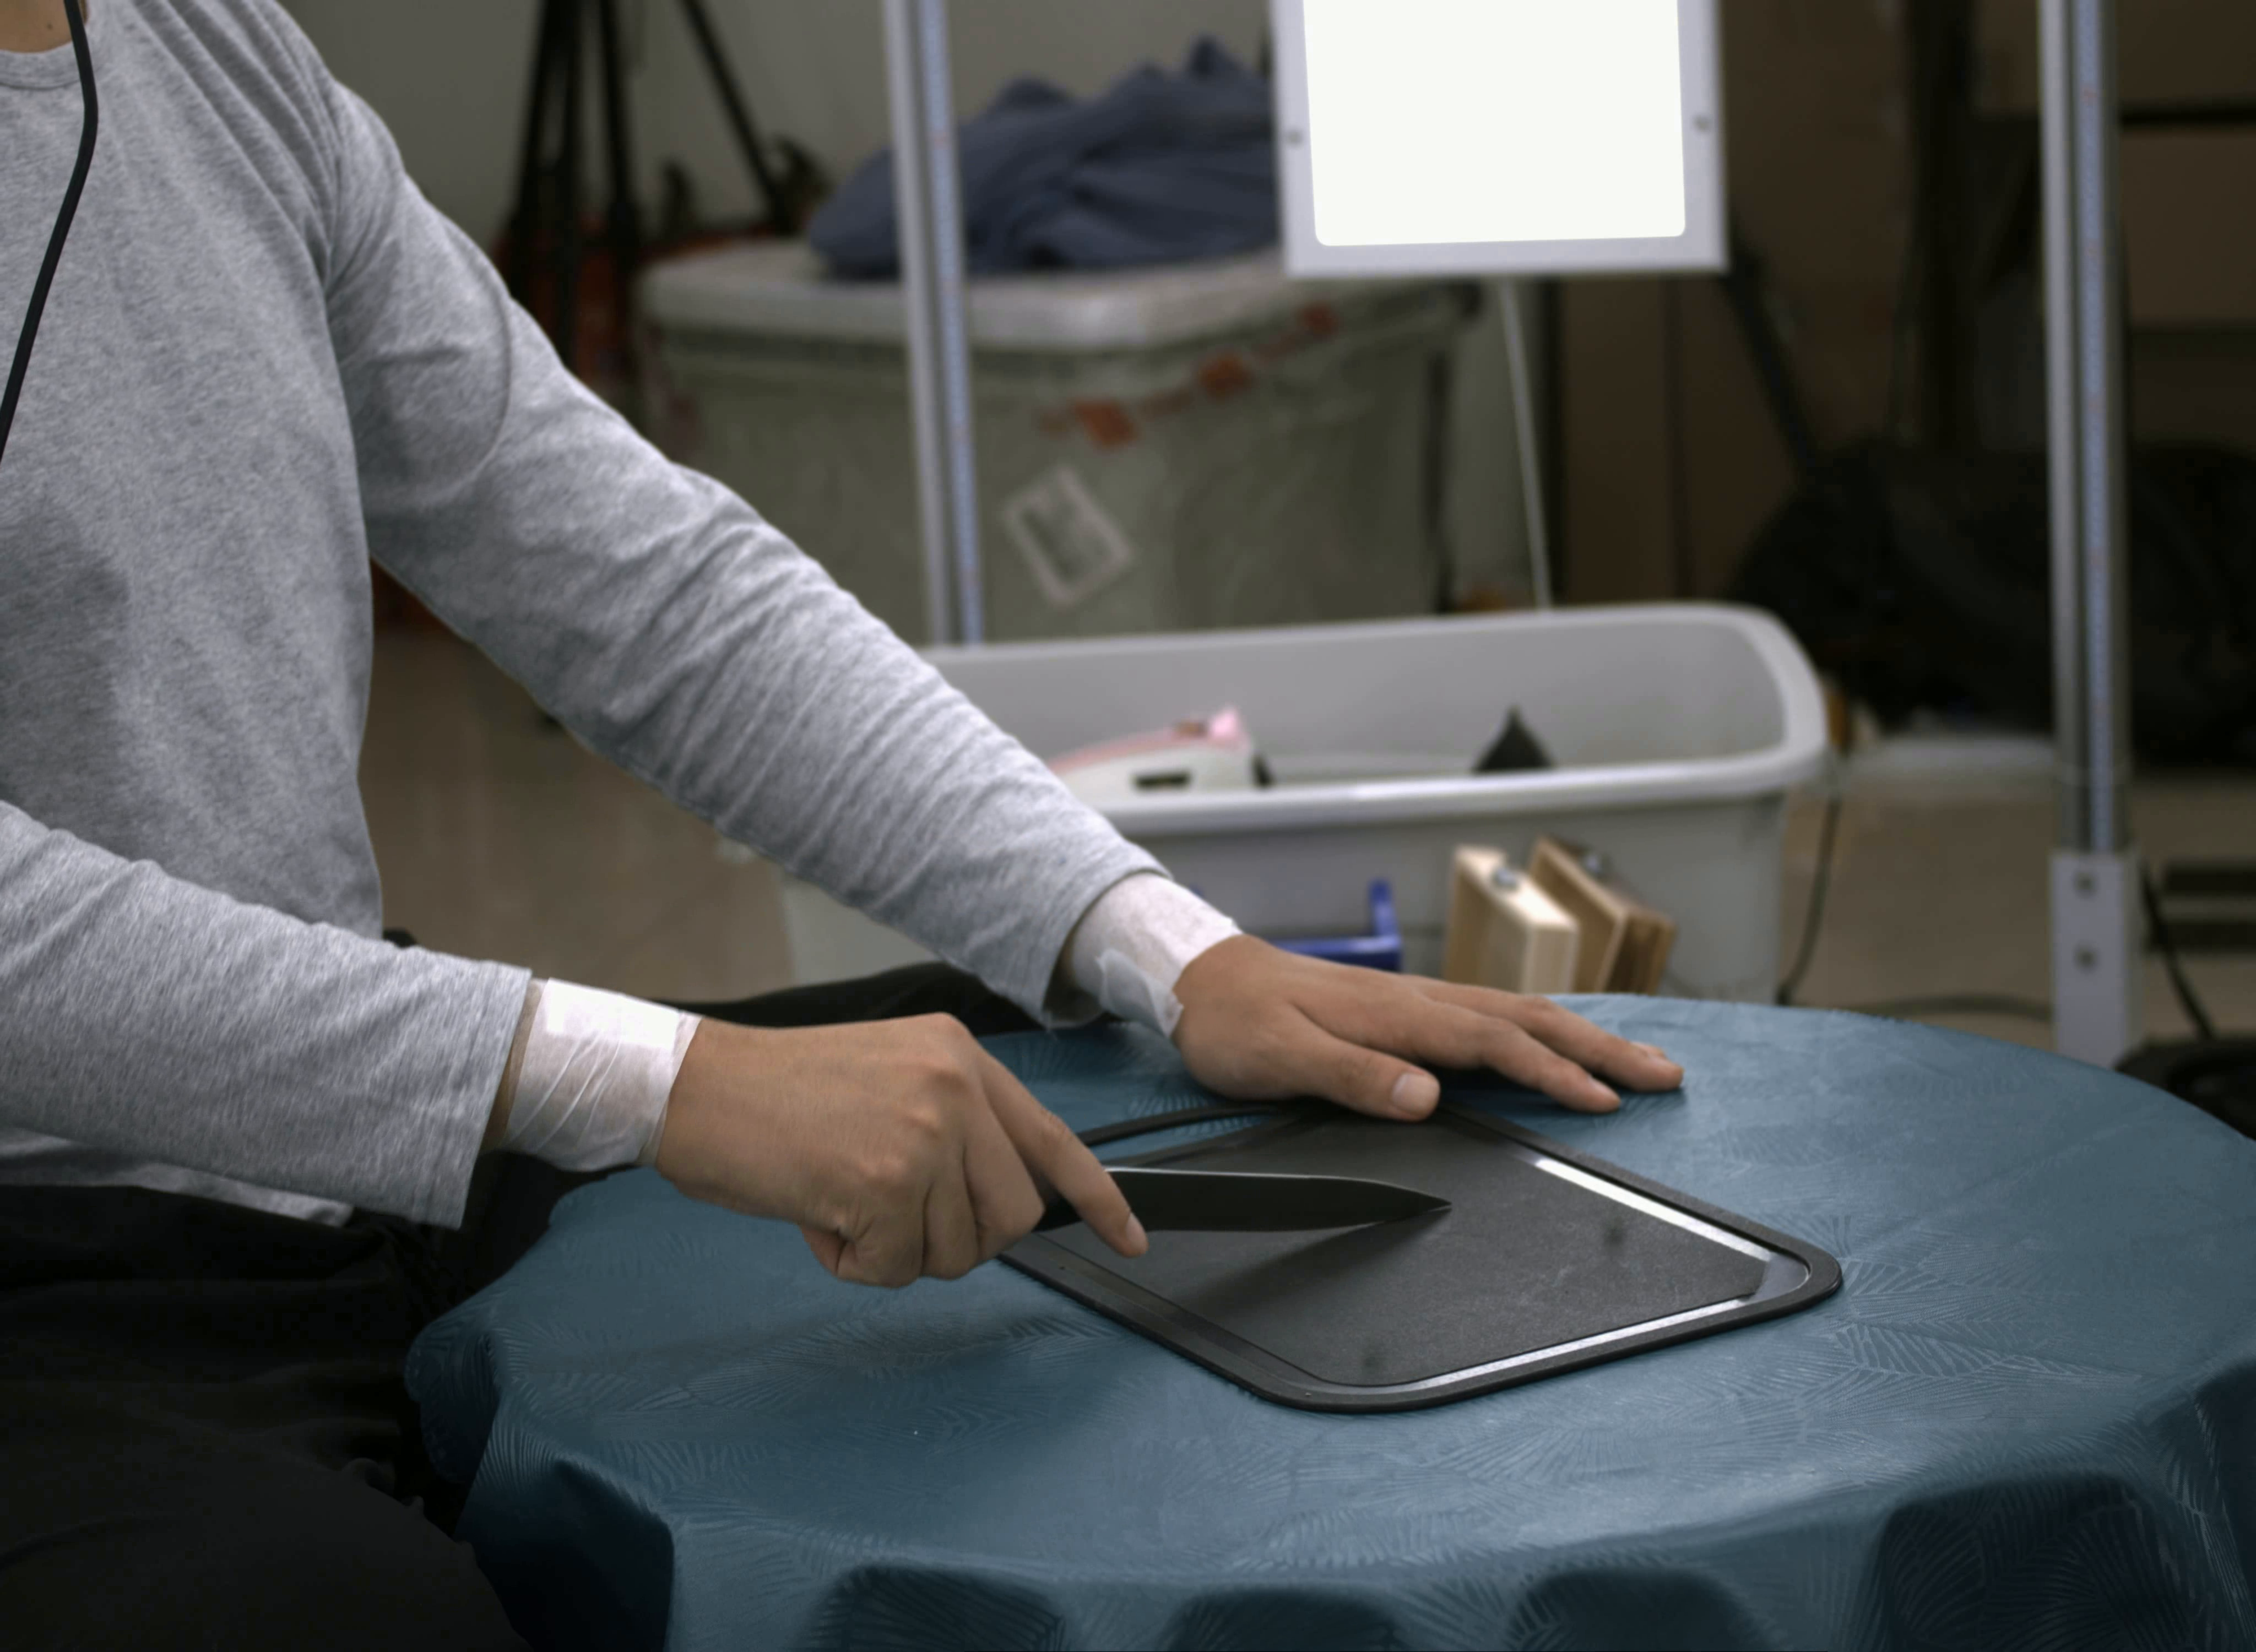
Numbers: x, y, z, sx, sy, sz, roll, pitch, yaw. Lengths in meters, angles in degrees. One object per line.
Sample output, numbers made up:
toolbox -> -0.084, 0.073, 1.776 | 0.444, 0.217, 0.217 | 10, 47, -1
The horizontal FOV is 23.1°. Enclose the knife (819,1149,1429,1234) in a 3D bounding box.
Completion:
knife -> 0.007, 0.119, 1.795 | 0.233, 0.024, 0.016 | 5, 19, -28

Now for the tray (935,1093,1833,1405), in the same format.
tray -> 0.074, 0.134, 1.833 | 0.207, 0.010, 0.331 | -12, 15, -25
